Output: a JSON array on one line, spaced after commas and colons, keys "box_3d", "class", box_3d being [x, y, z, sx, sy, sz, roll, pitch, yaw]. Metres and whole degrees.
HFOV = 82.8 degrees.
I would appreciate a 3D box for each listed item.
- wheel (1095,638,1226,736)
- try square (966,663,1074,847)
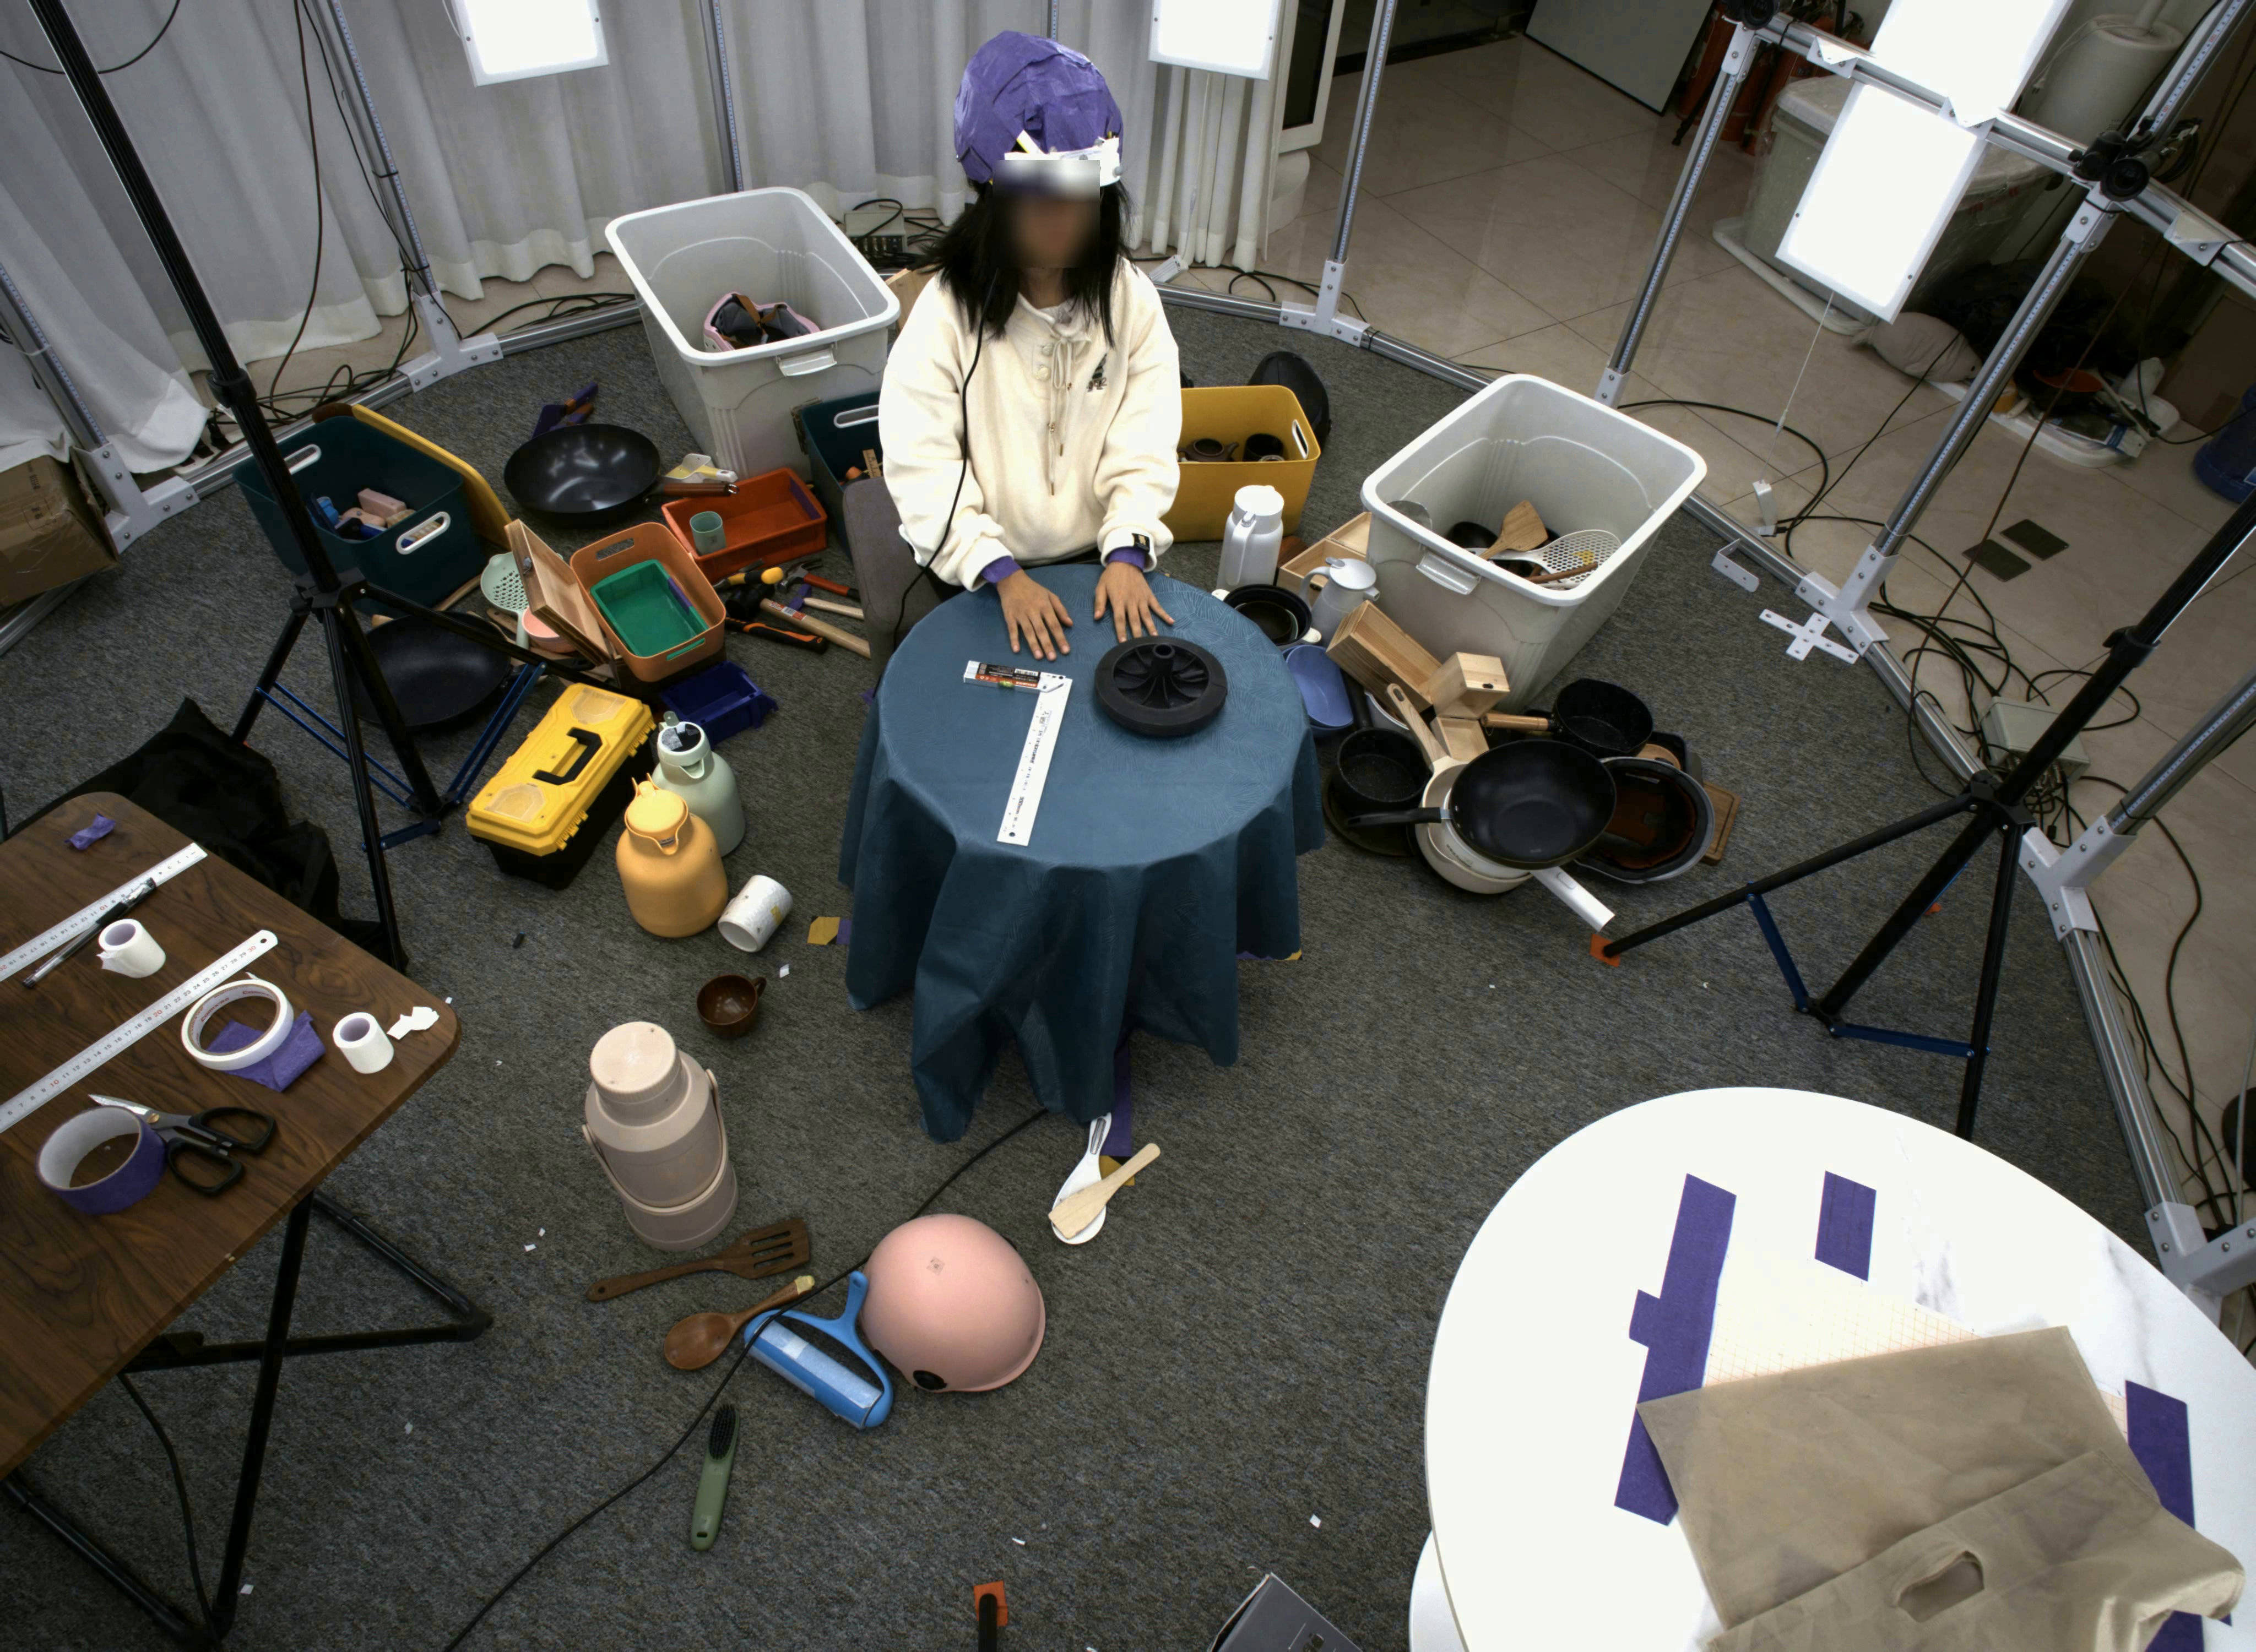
[{"box_3d": [0.048, -0.215, 1.810, 0.191, 0.077, 0.190, -34, 58, -30], "class": "wheel"}, {"box_3d": [-0.176, -0.104, 1.746, 0.152, 0.015, 0.320, 7, 50, 6], "class": "try square"}]
